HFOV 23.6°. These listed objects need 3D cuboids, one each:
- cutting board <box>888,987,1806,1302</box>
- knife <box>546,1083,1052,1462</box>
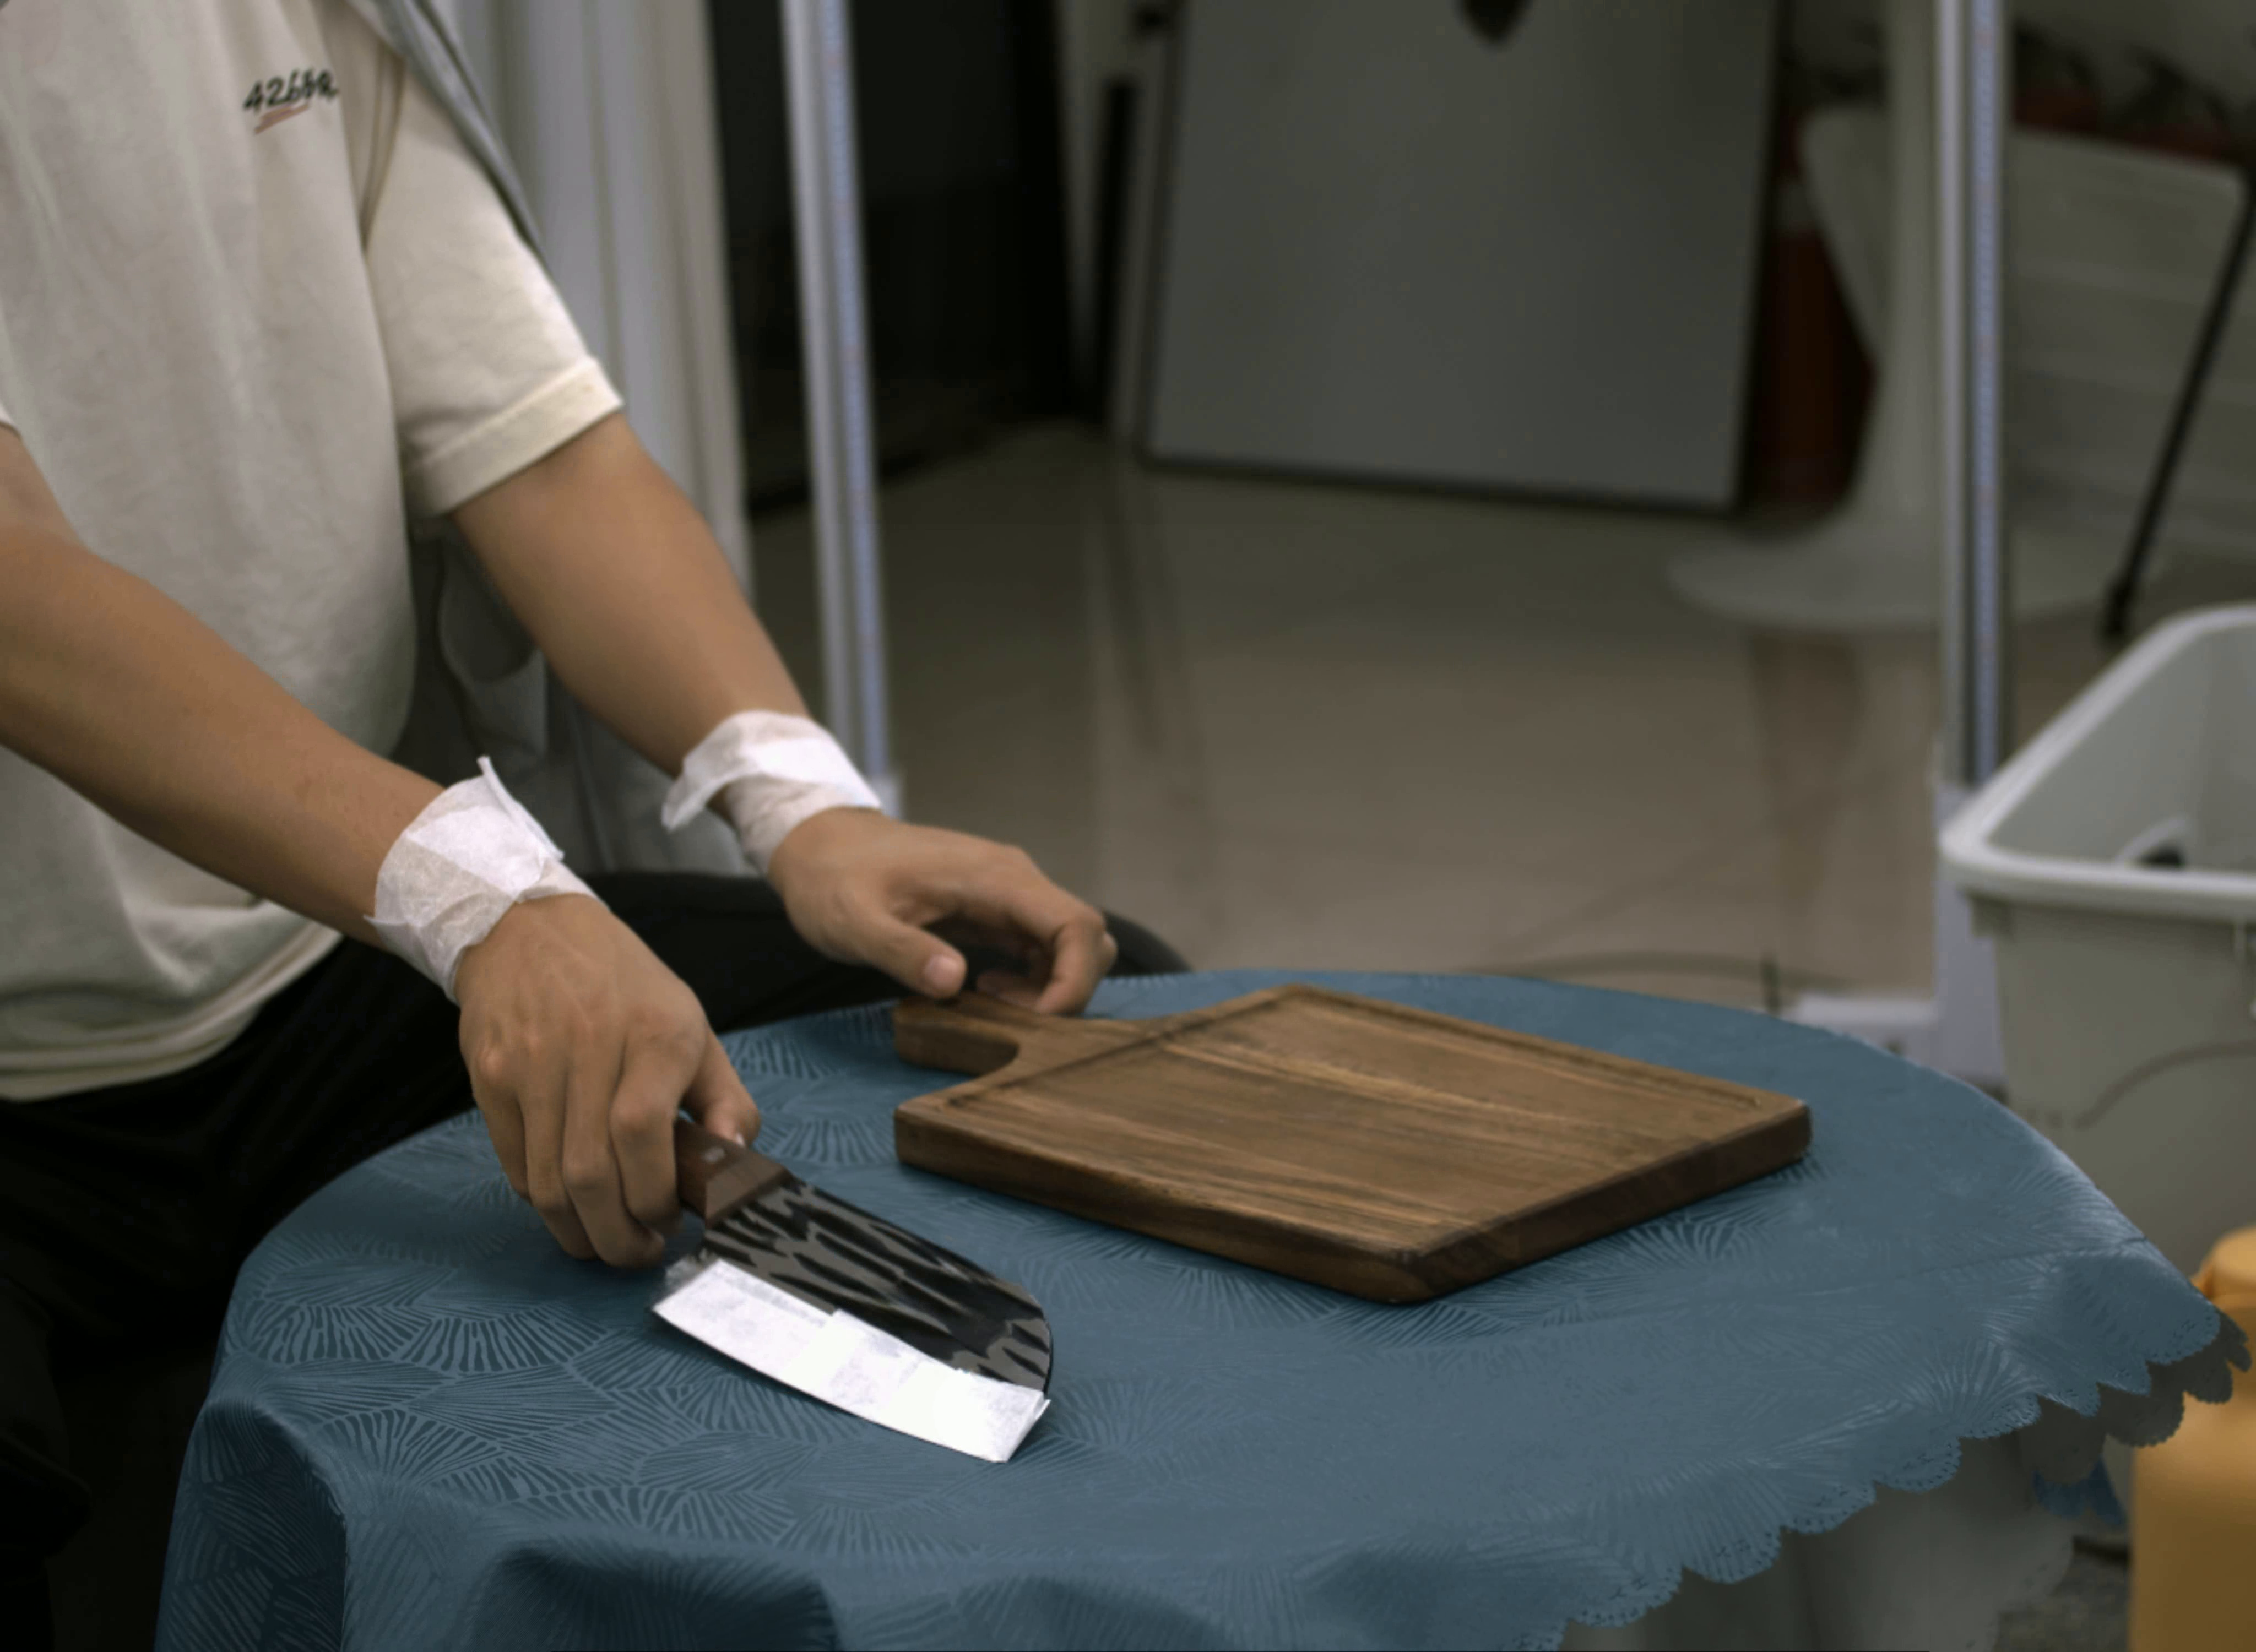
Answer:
[{"bbox_3d":[0.039,0.095,1.827,0.197,0.023,0.356,-16,17,-39],"label":"cutting board"},{"bbox_3d":[-0.110,0.136,1.663,0.067,0.024,0.303,-37,32,-24],"label":"knife"}]
